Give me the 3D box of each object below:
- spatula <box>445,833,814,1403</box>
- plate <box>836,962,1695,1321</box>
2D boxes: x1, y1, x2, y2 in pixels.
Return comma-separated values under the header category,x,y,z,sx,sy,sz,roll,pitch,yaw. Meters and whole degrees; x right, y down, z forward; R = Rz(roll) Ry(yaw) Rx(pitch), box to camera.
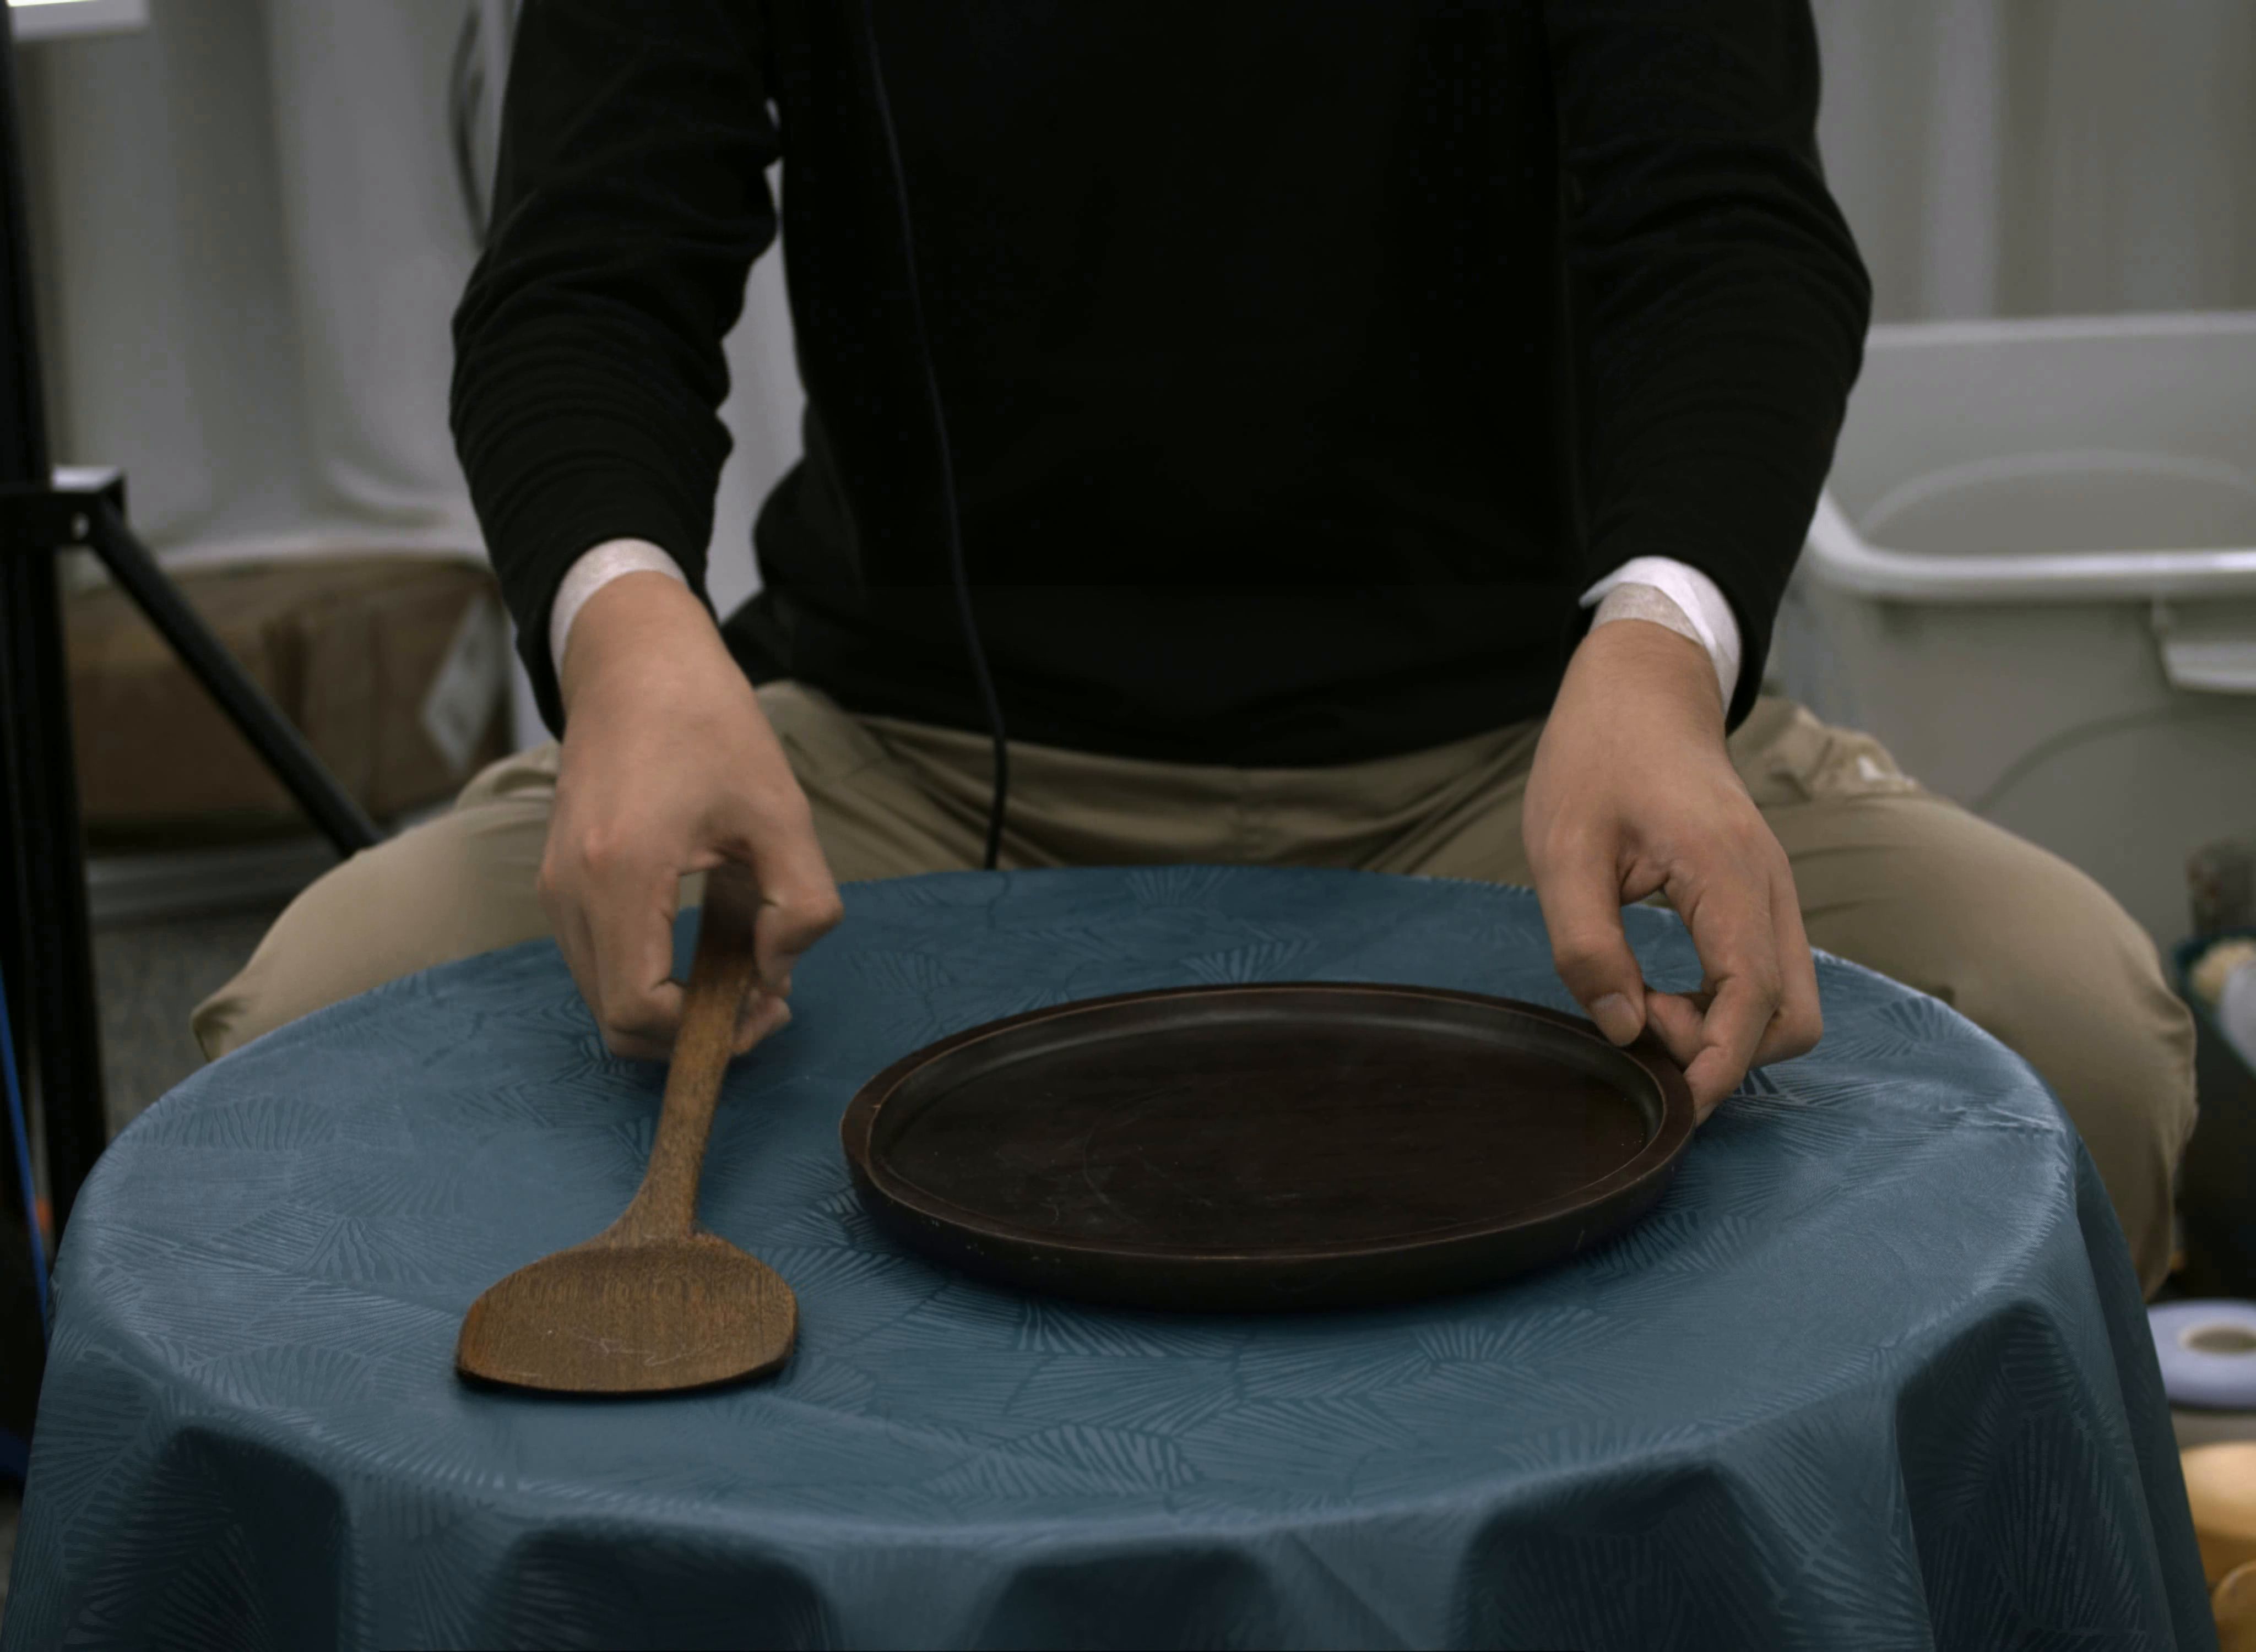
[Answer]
category,x,y,z,sx,sy,sz,roll,pitch,yaw
spatula,-0.128,0.078,1.595,0.096,0.016,0.387,-1,23,4
plate,0.040,0.093,1.560,0.253,0.029,0.256,-4,16,0
